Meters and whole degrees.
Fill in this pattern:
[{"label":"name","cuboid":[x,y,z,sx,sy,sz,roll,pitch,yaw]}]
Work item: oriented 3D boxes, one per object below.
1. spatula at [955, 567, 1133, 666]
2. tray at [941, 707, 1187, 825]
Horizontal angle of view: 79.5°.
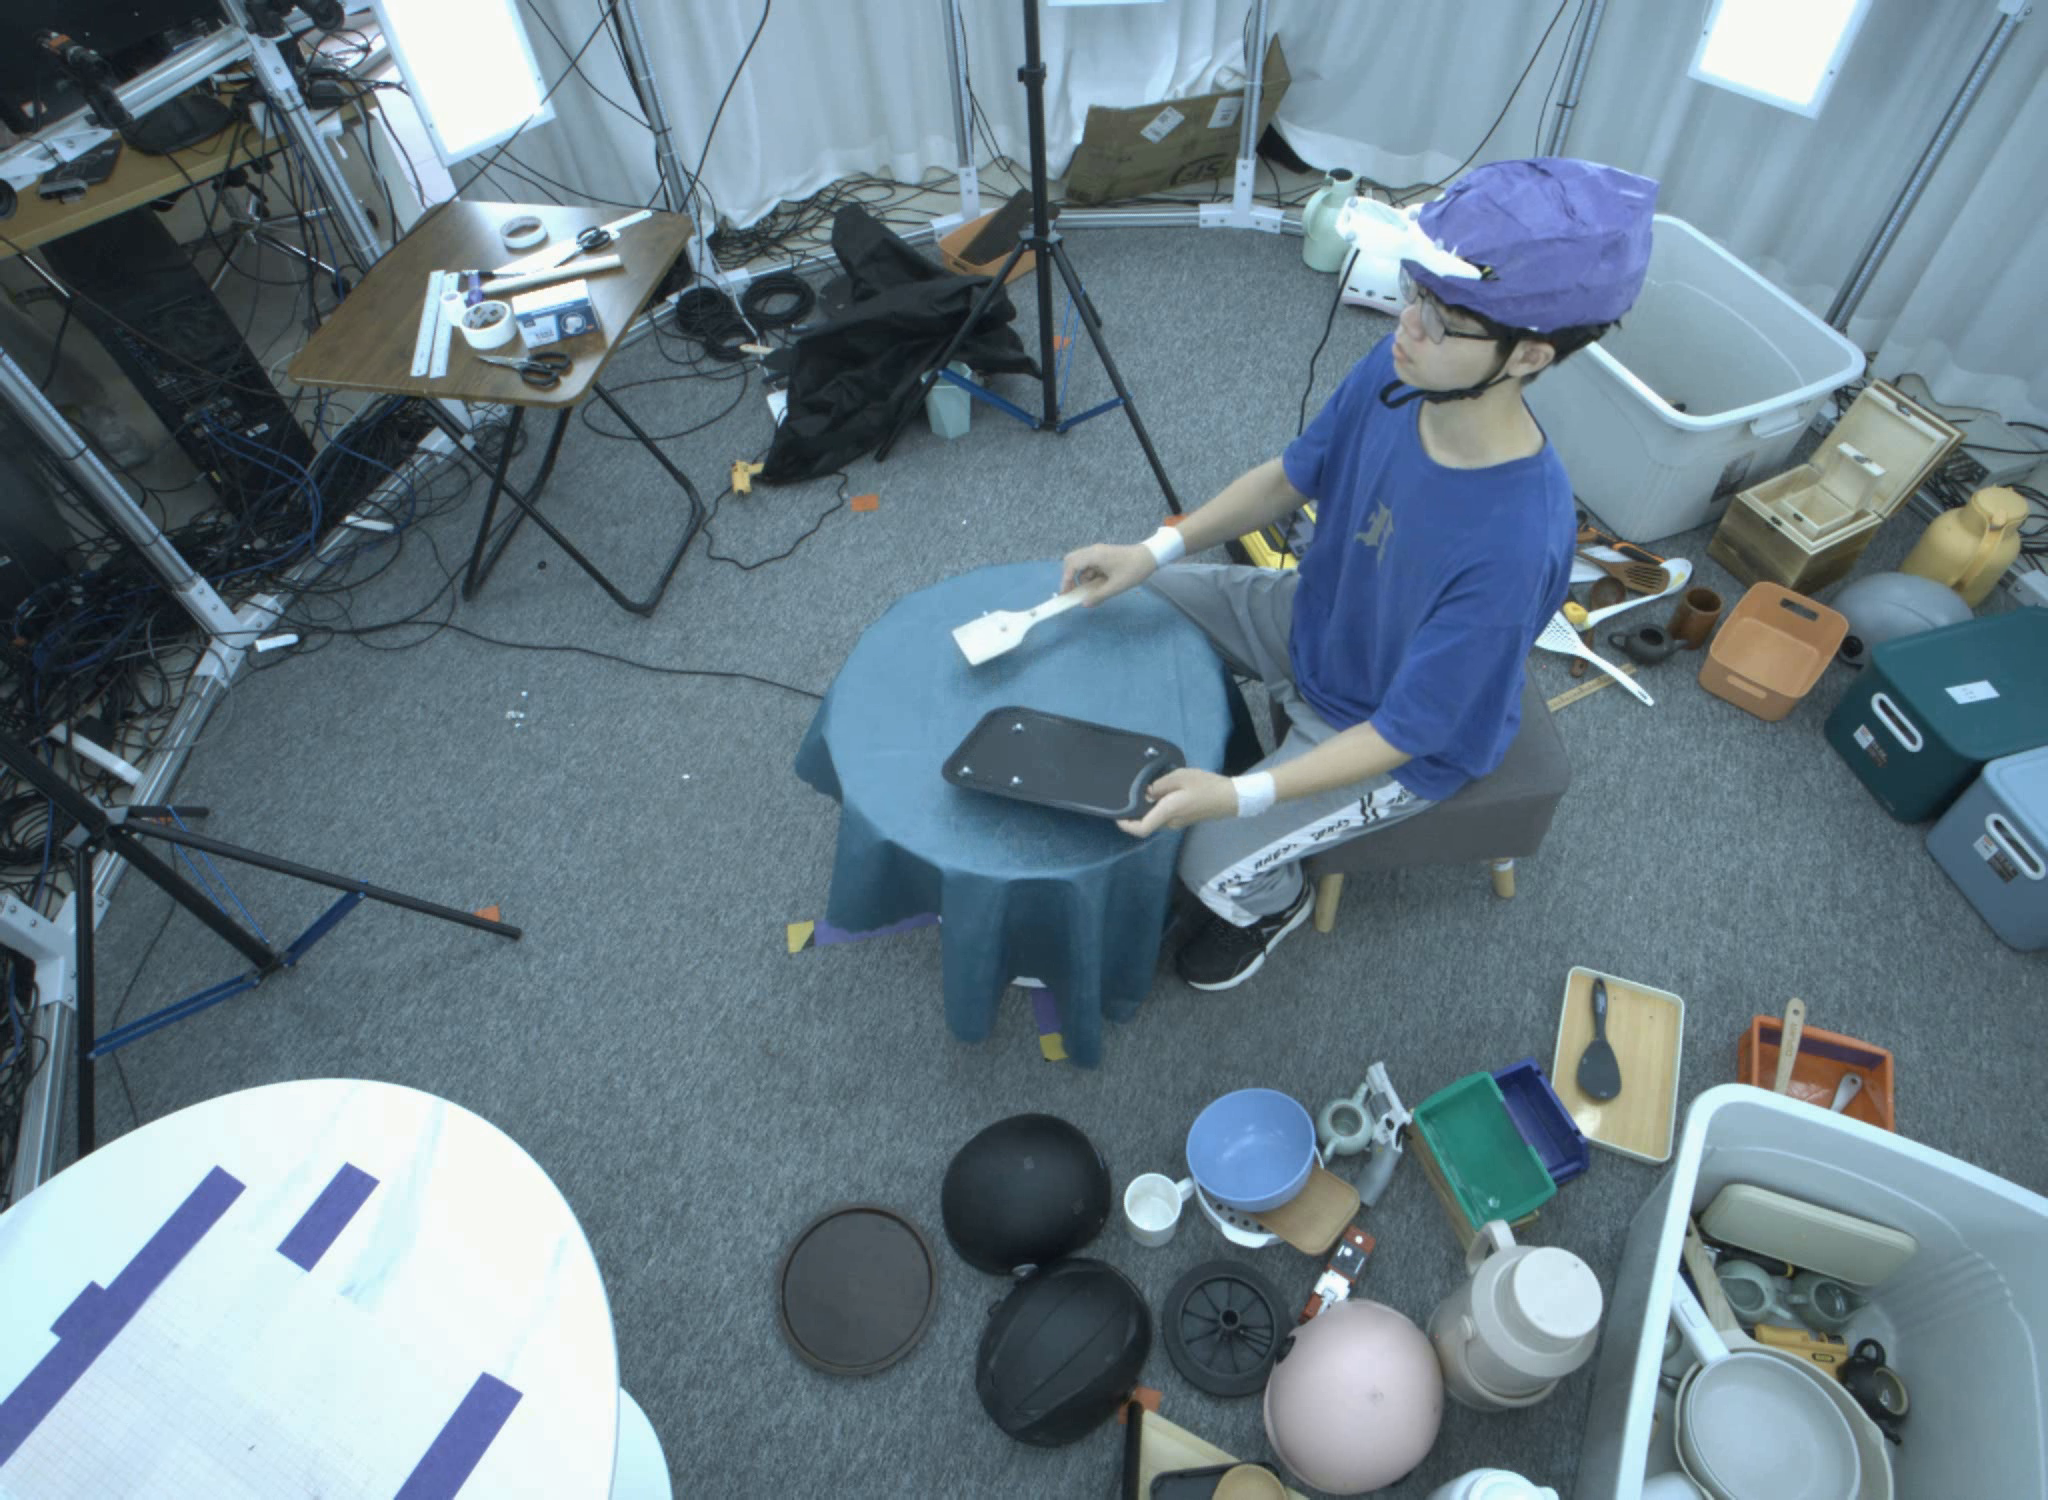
[{"label":"spatula","cuboid":[0.037,-0.212,1.866,0.295,0.011,0.071,-27,66,-14]},{"label":"tray","cuboid":[0.062,0.018,1.705,0.321,0.010,0.212,14,37,20]}]
